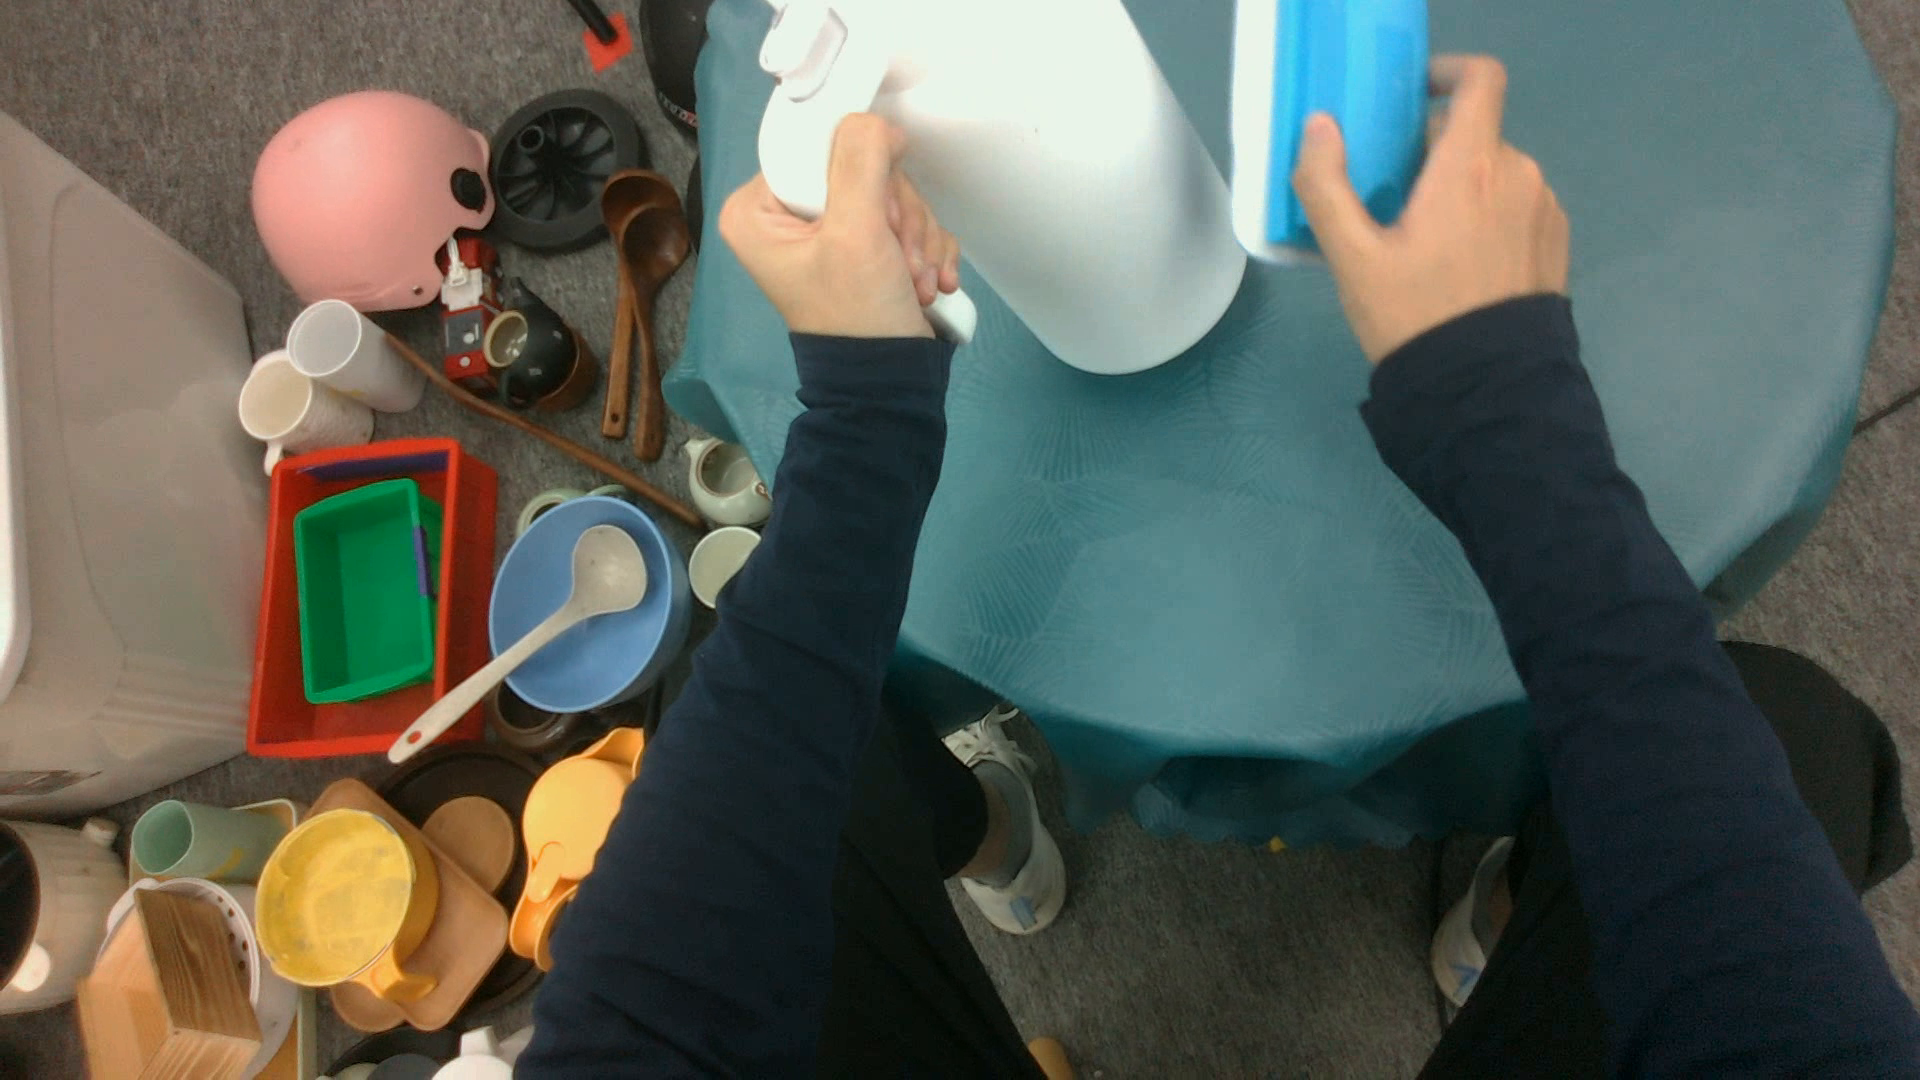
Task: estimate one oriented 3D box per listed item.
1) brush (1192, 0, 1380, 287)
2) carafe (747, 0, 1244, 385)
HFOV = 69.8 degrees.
[{"bbox_3d":[0.137,-0.176,0.546,0.084,0.056,0.144,-1,89,-31],"label":"brush"},{"bbox_3d":[0.024,-0.161,0.602,0.123,0.268,0.173,13,76,33],"label":"carafe"}]
